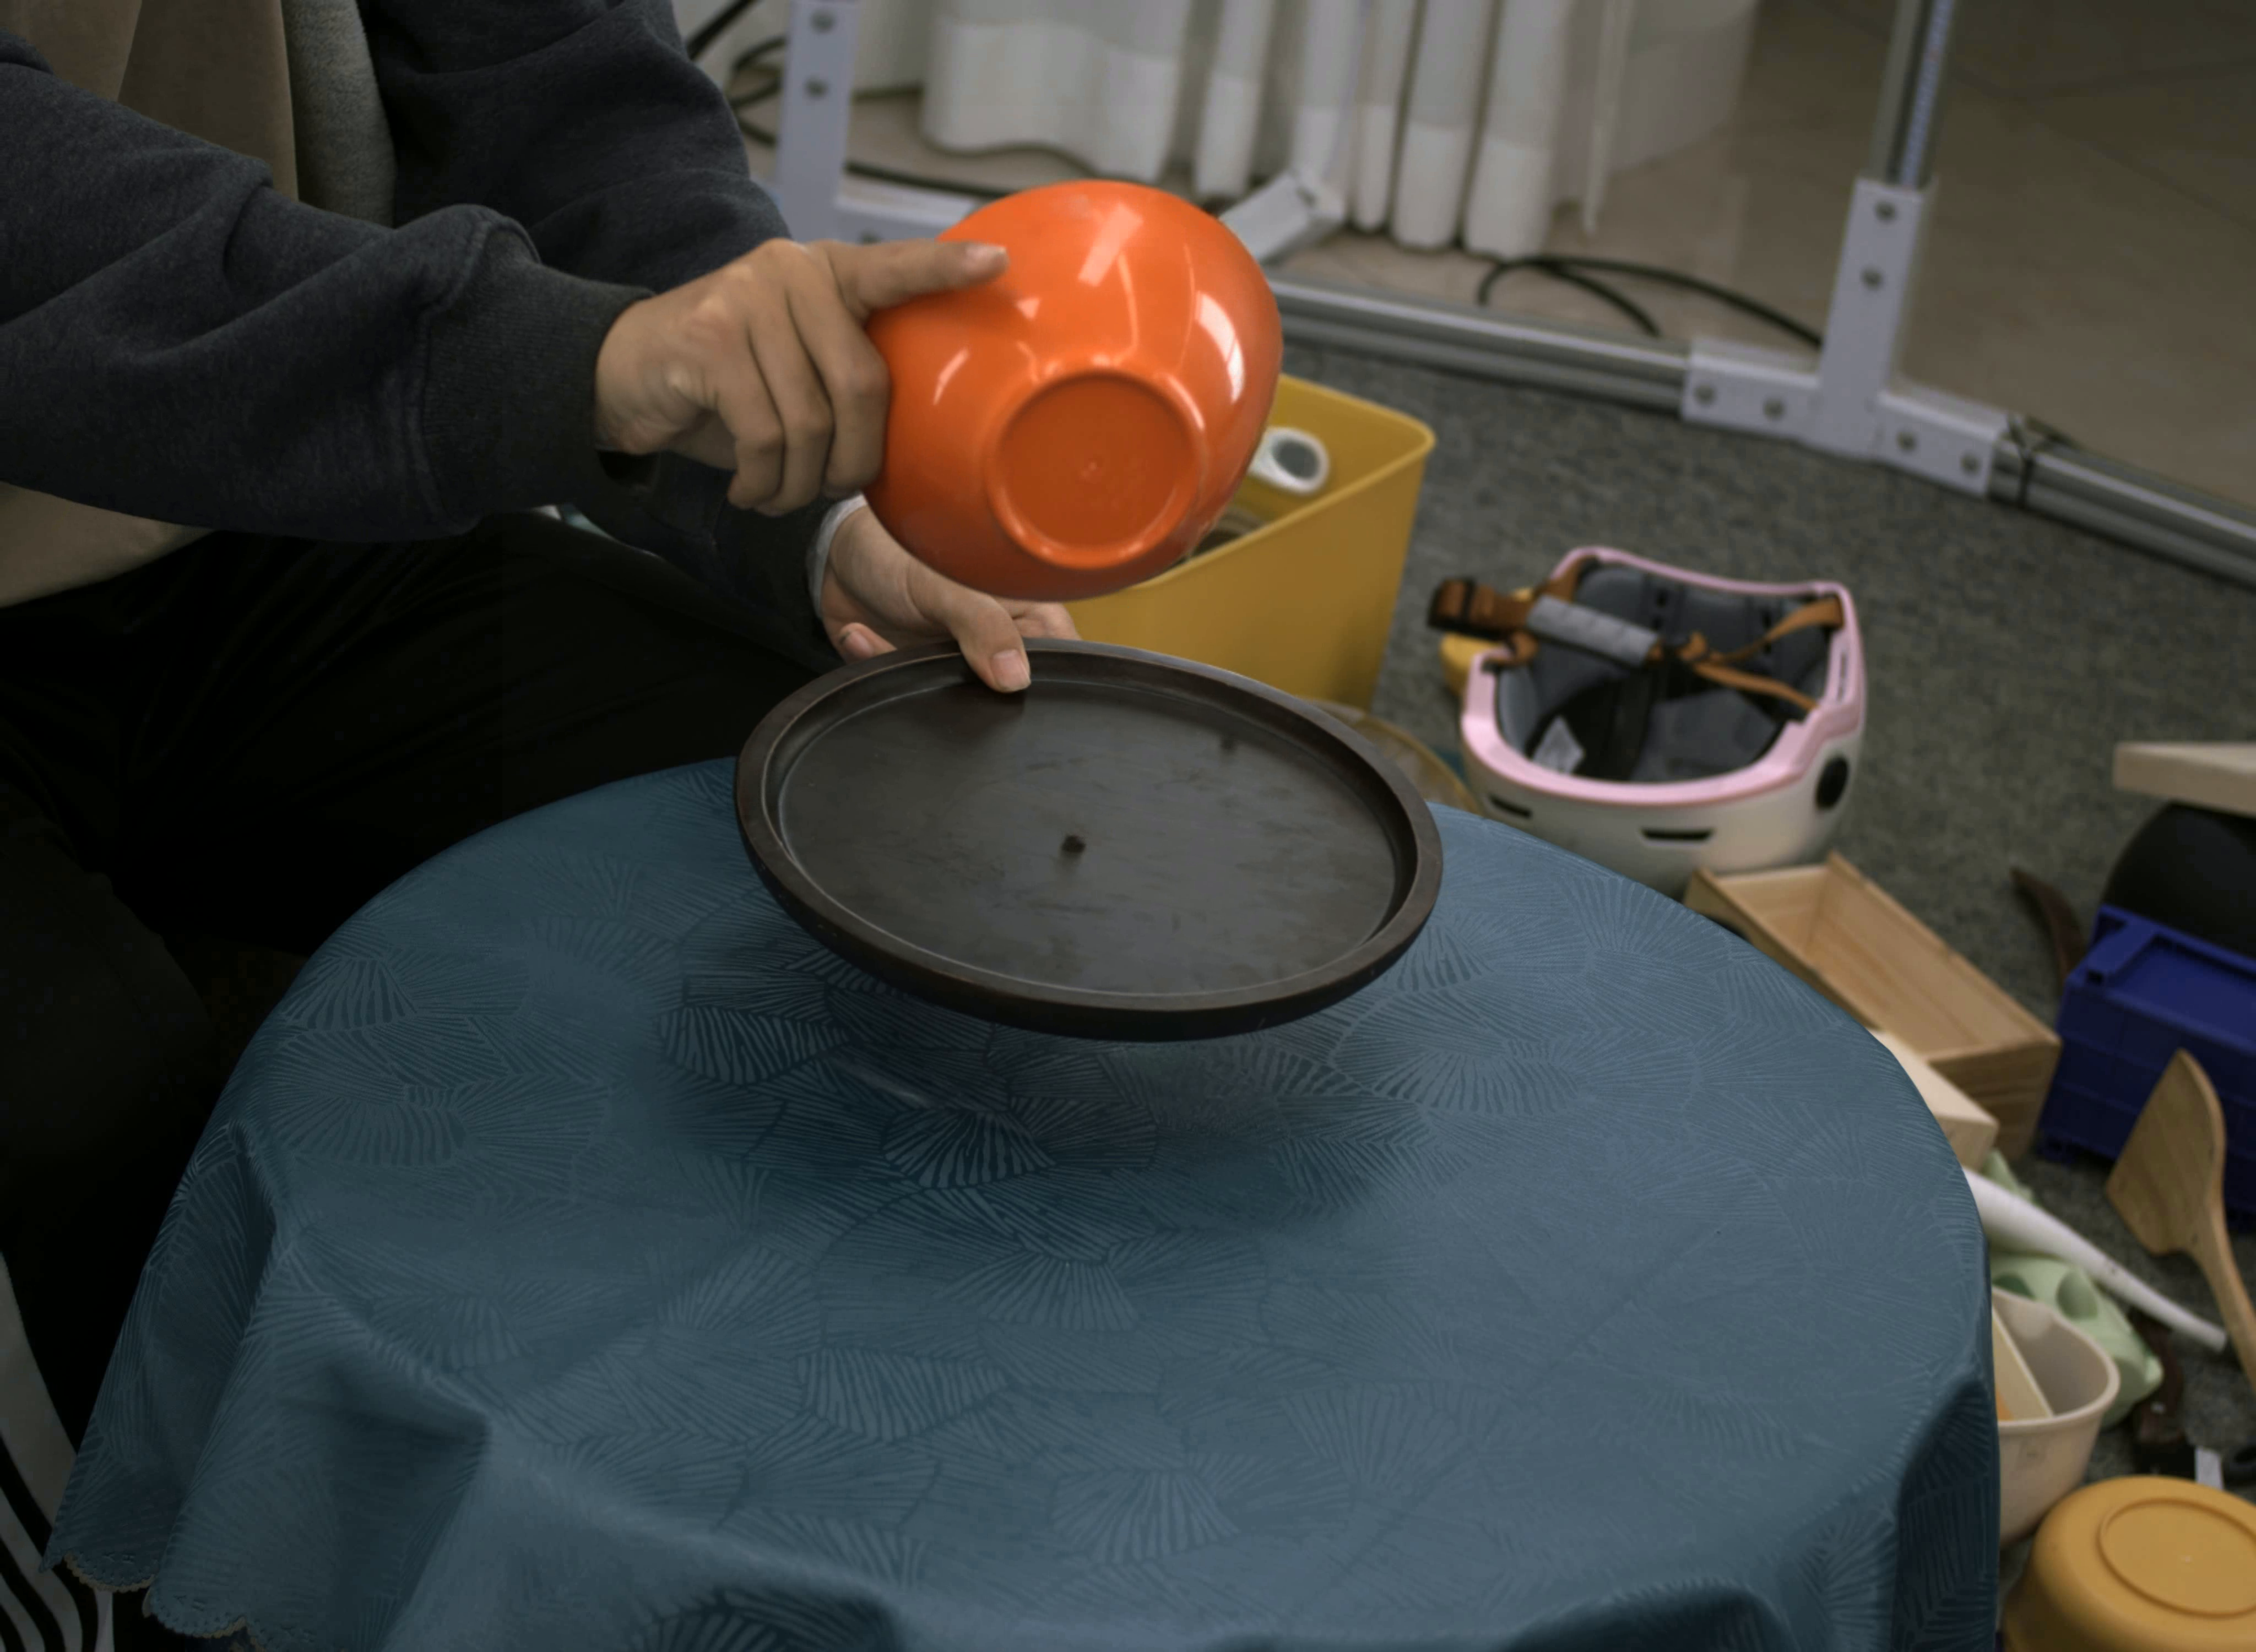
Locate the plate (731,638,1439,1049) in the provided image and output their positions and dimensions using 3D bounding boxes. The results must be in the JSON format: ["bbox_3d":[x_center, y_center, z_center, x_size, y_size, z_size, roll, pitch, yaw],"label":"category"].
[{"bbox_3d":[-0.015,0.004,1.881,0.254,0.029,0.256,5,31,-3],"label":"plate"}]

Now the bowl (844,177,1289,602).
[{"bbox_3d":[-0.012,-0.123,1.673,0.147,0.147,0.105,2,24,-11],"label":"bowl"}]
